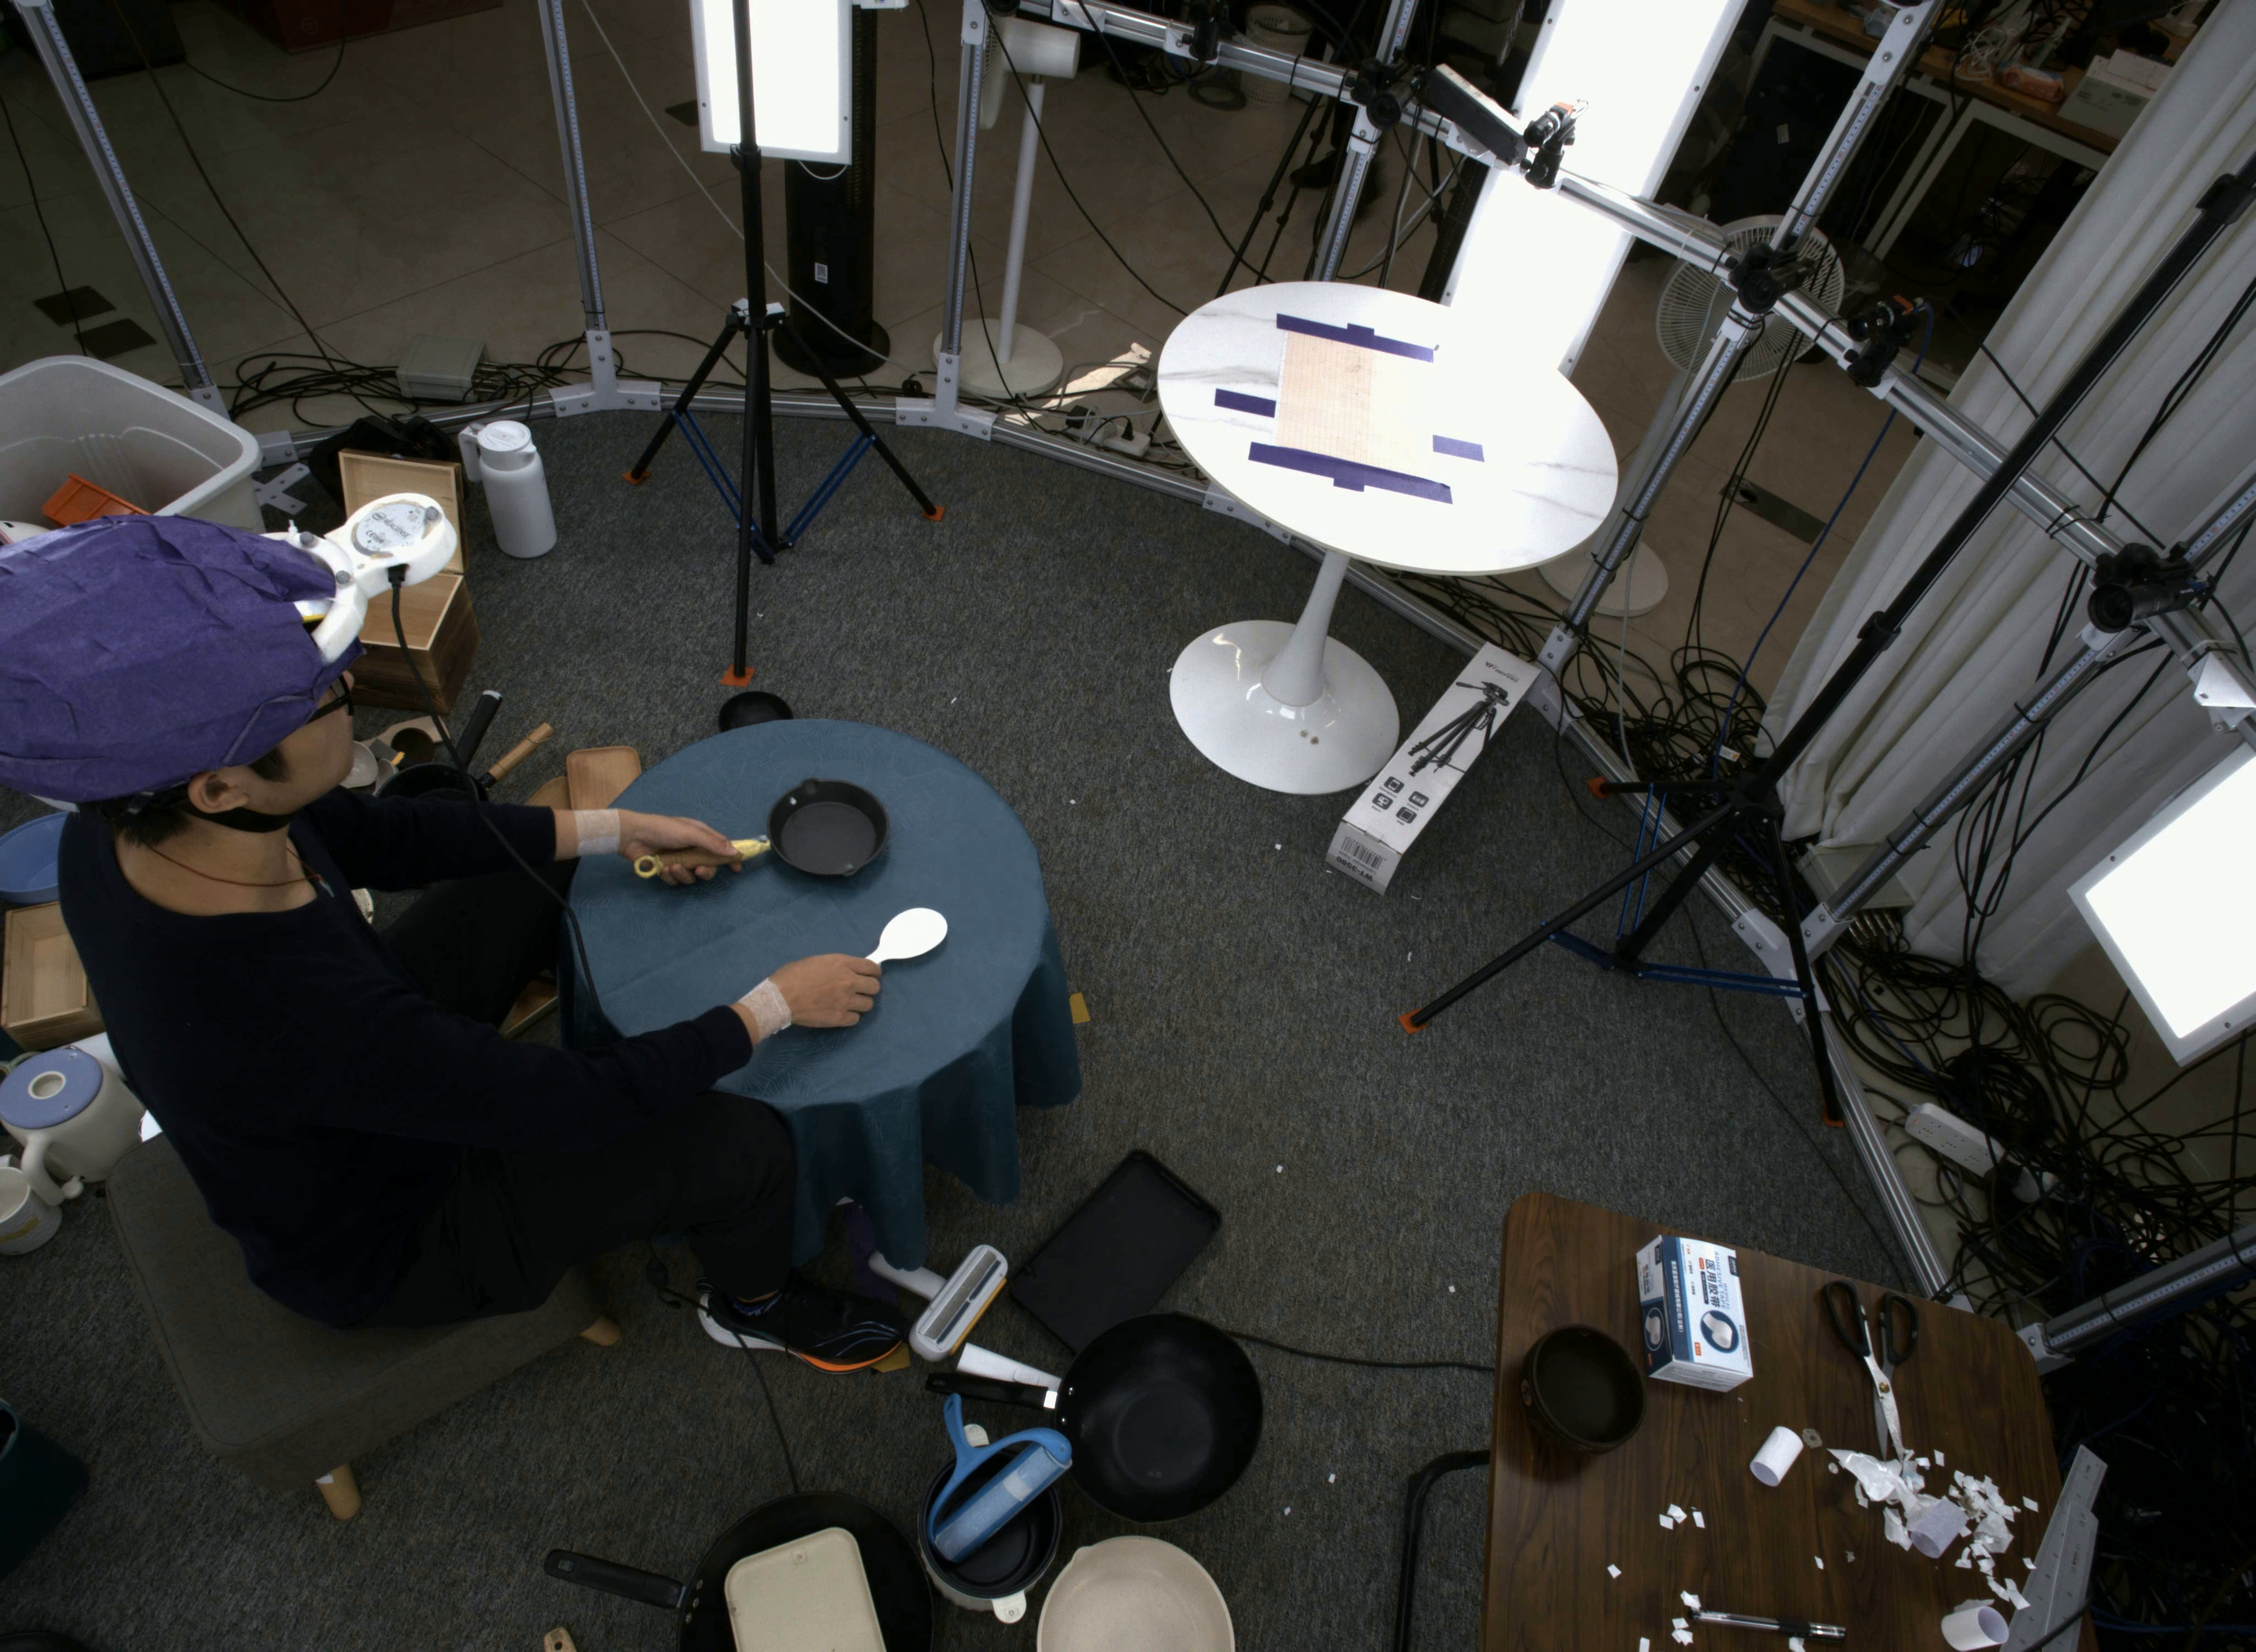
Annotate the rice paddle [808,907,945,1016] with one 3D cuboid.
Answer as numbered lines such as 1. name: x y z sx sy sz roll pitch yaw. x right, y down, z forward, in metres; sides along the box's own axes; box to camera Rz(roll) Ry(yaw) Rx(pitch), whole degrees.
1. rice paddle: -0.307 0.160 1.604 0.067 0.030 0.205 37 52 19

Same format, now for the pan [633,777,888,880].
1. pan: -0.467 0.021 1.654 0.326 0.050 0.165 -13 58 -25
